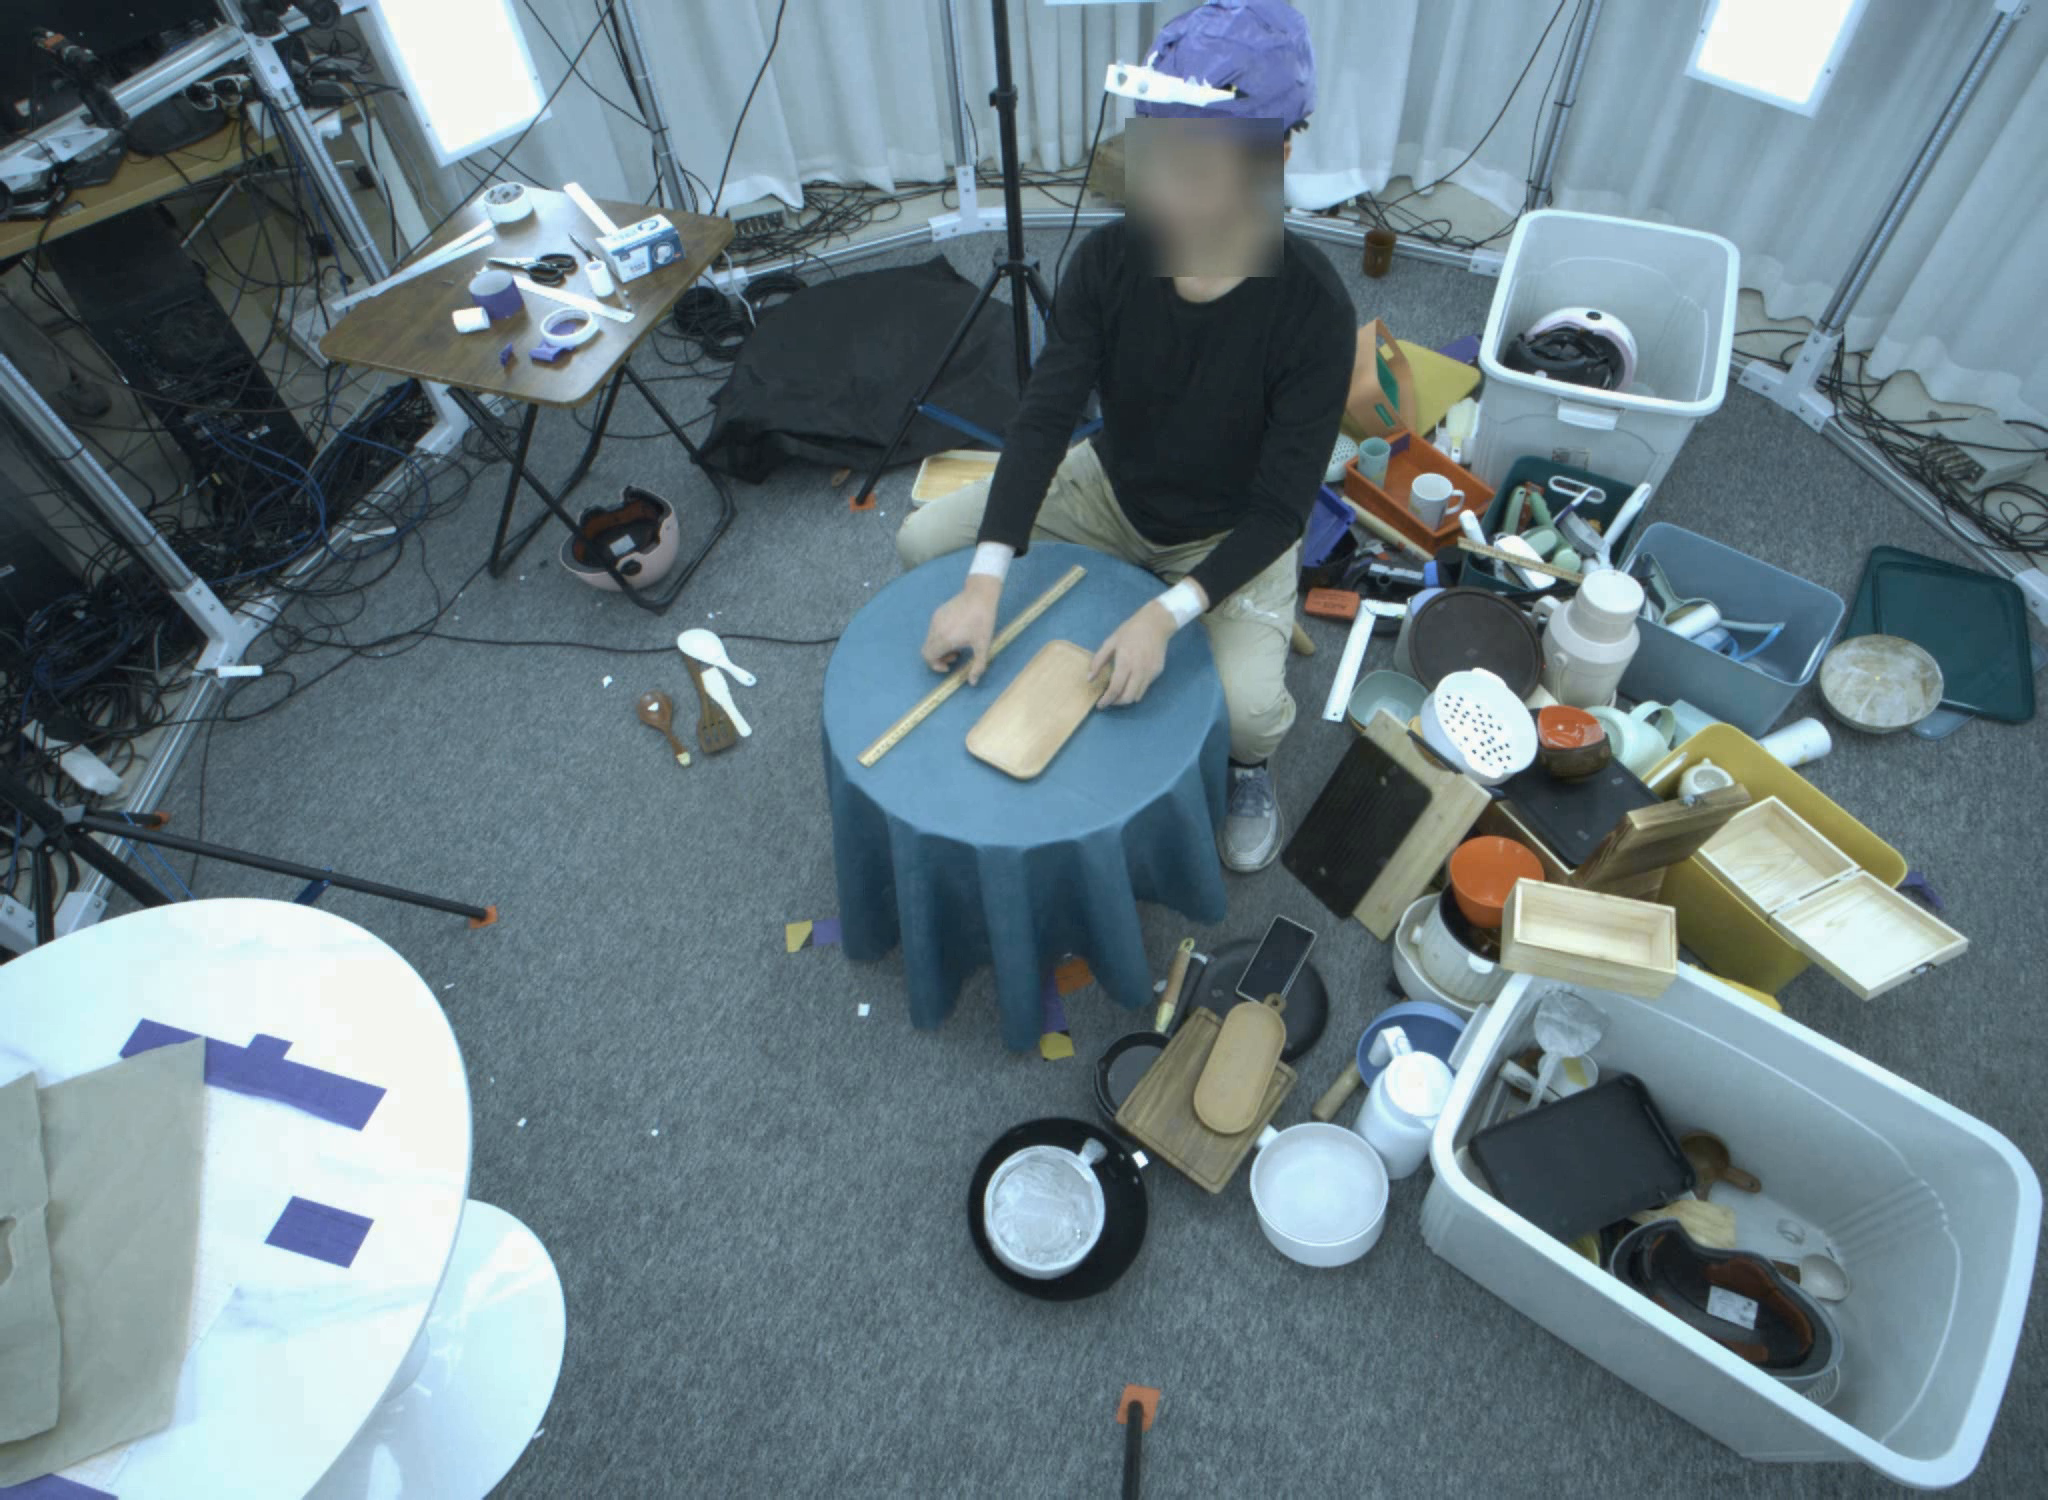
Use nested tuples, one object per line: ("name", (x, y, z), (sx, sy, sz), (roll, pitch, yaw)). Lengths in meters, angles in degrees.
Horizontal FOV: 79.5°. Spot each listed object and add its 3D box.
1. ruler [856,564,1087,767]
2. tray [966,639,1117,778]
("ruler", (-0.071, -0.138, 1.885), (0.026, 0.006, 0.503), (36, 63, 21))
("tray", (0.028, -0.064, 1.822), (0.129, 0.023, 0.252), (30, 60, 19))
